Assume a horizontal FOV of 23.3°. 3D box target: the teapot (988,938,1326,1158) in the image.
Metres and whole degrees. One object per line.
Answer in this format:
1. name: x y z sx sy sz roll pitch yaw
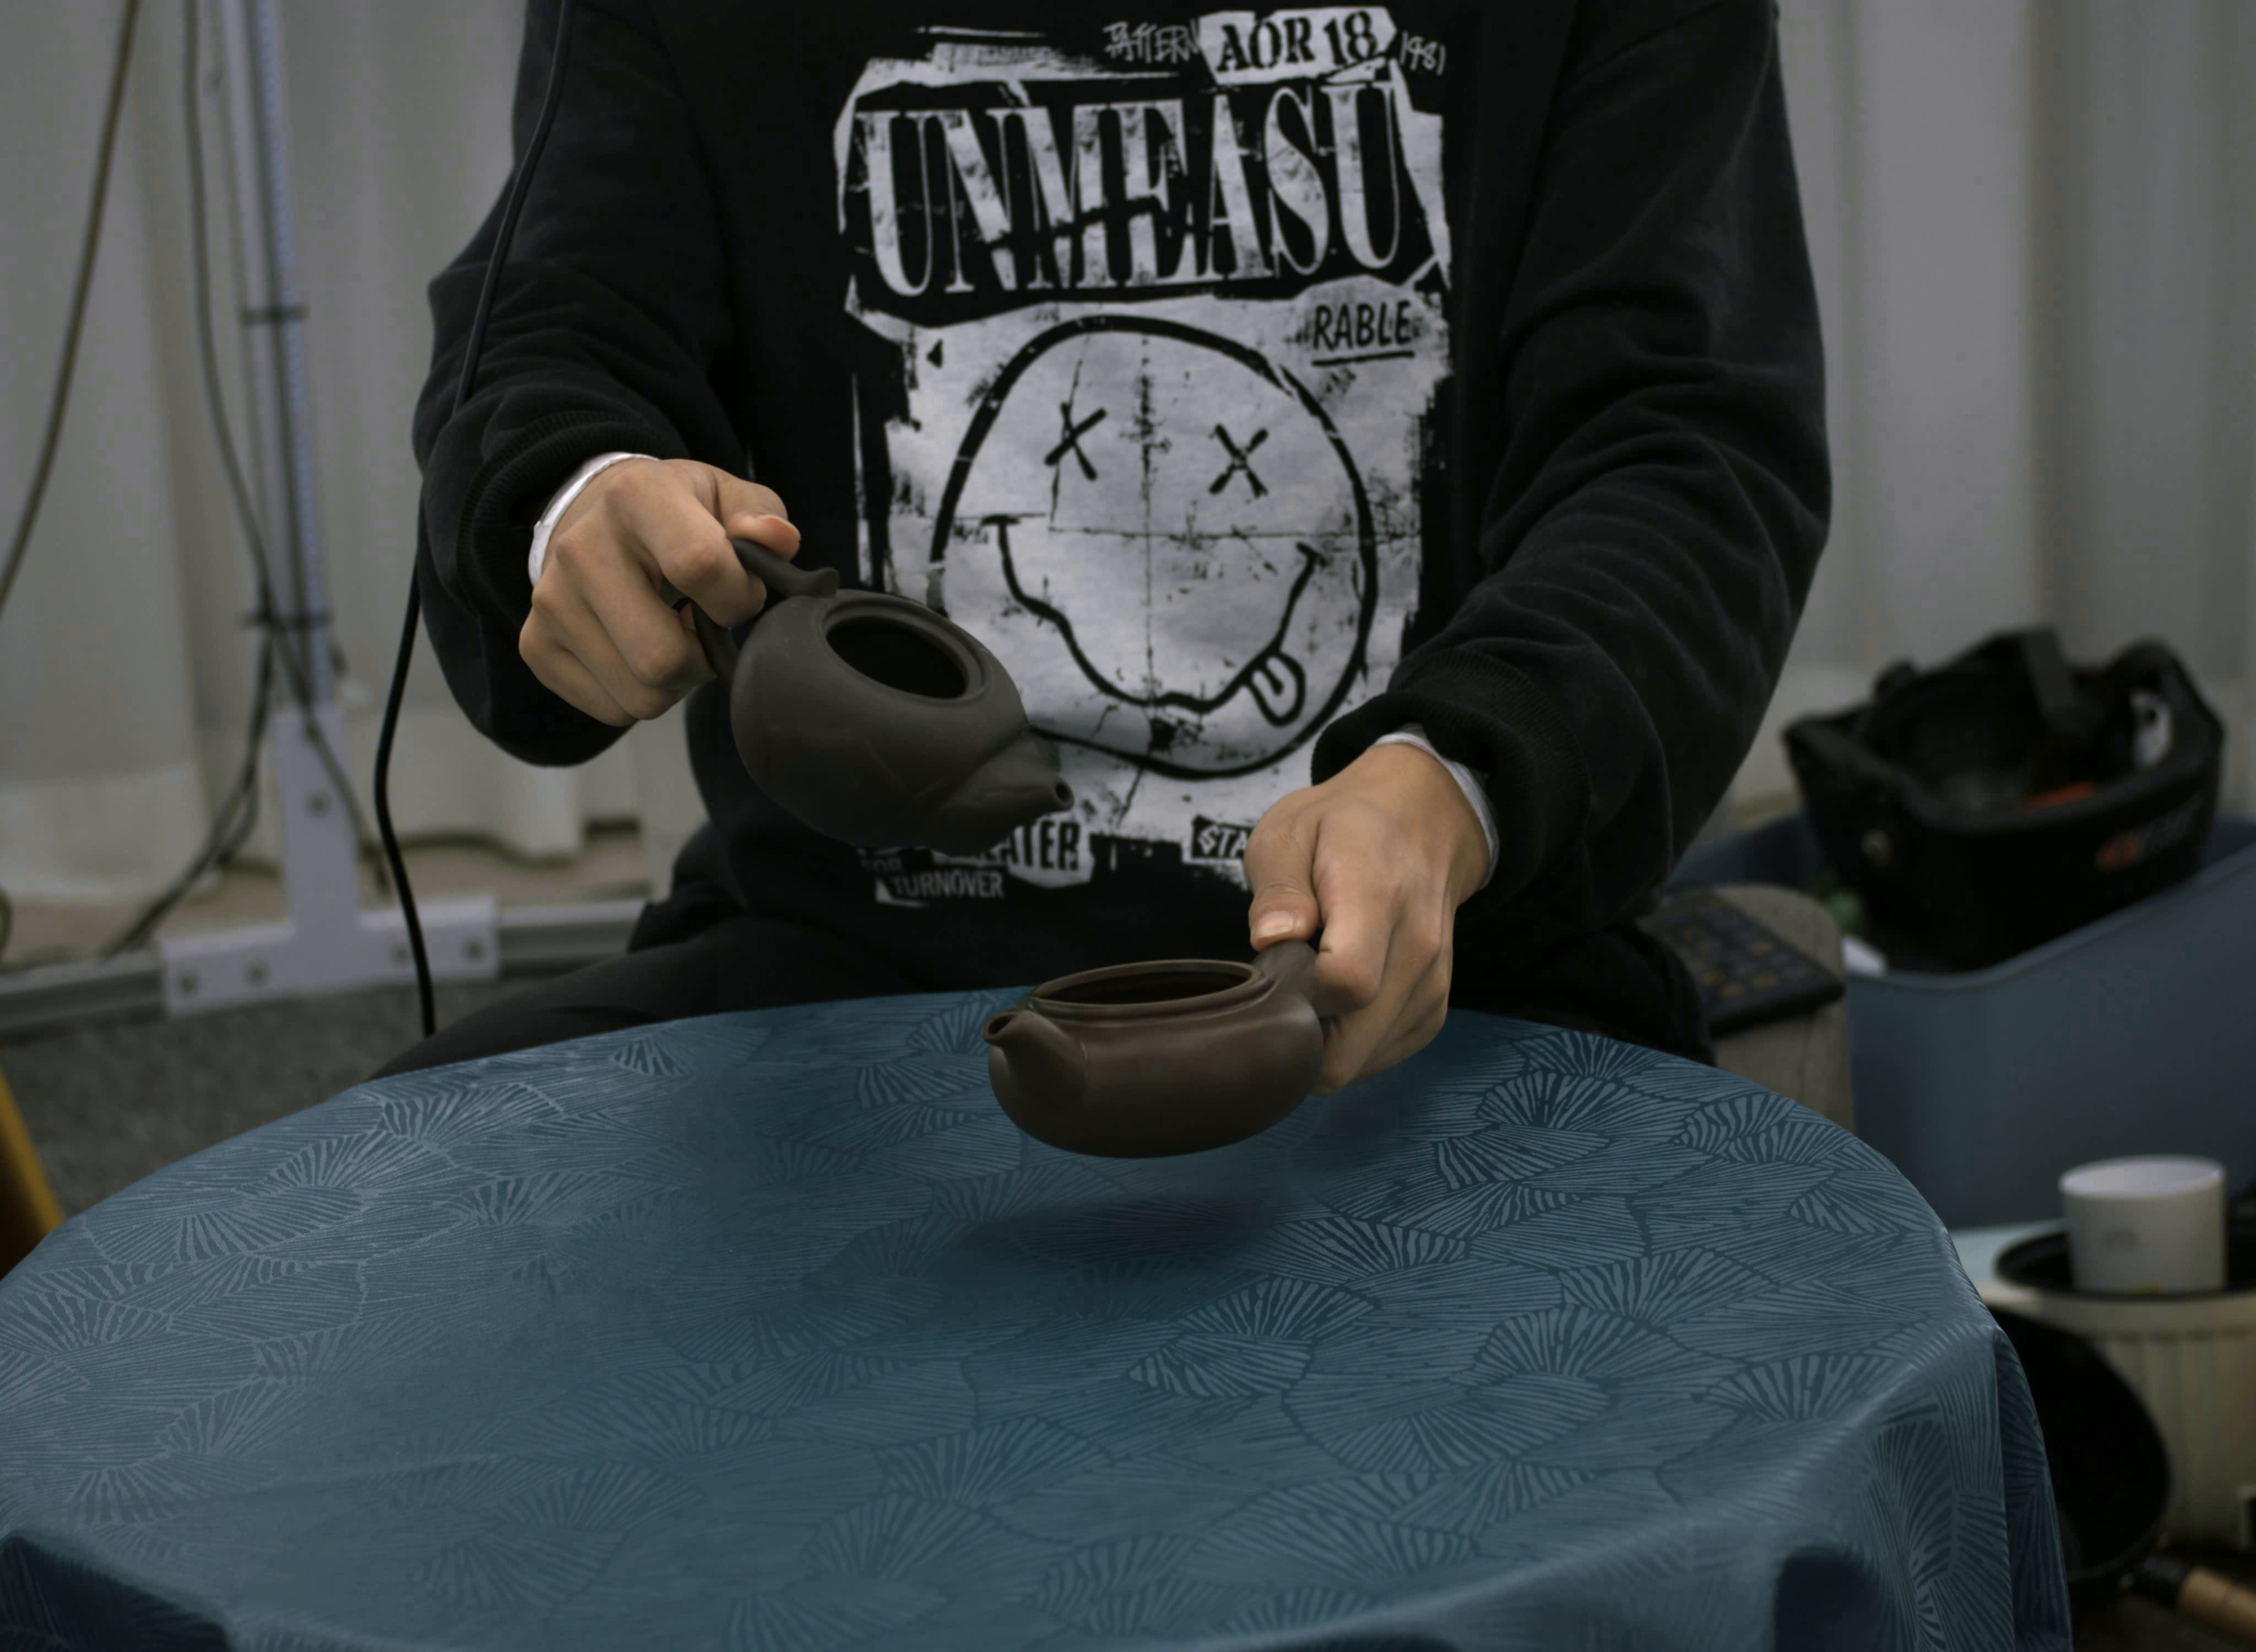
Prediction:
1. teapot: 0.011 0.067 1.666 0.103 0.054 0.153 4 14 36

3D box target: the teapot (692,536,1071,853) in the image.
1. teapot: -0.080 -0.036 1.674 0.155 0.064 0.092 38 28 26
